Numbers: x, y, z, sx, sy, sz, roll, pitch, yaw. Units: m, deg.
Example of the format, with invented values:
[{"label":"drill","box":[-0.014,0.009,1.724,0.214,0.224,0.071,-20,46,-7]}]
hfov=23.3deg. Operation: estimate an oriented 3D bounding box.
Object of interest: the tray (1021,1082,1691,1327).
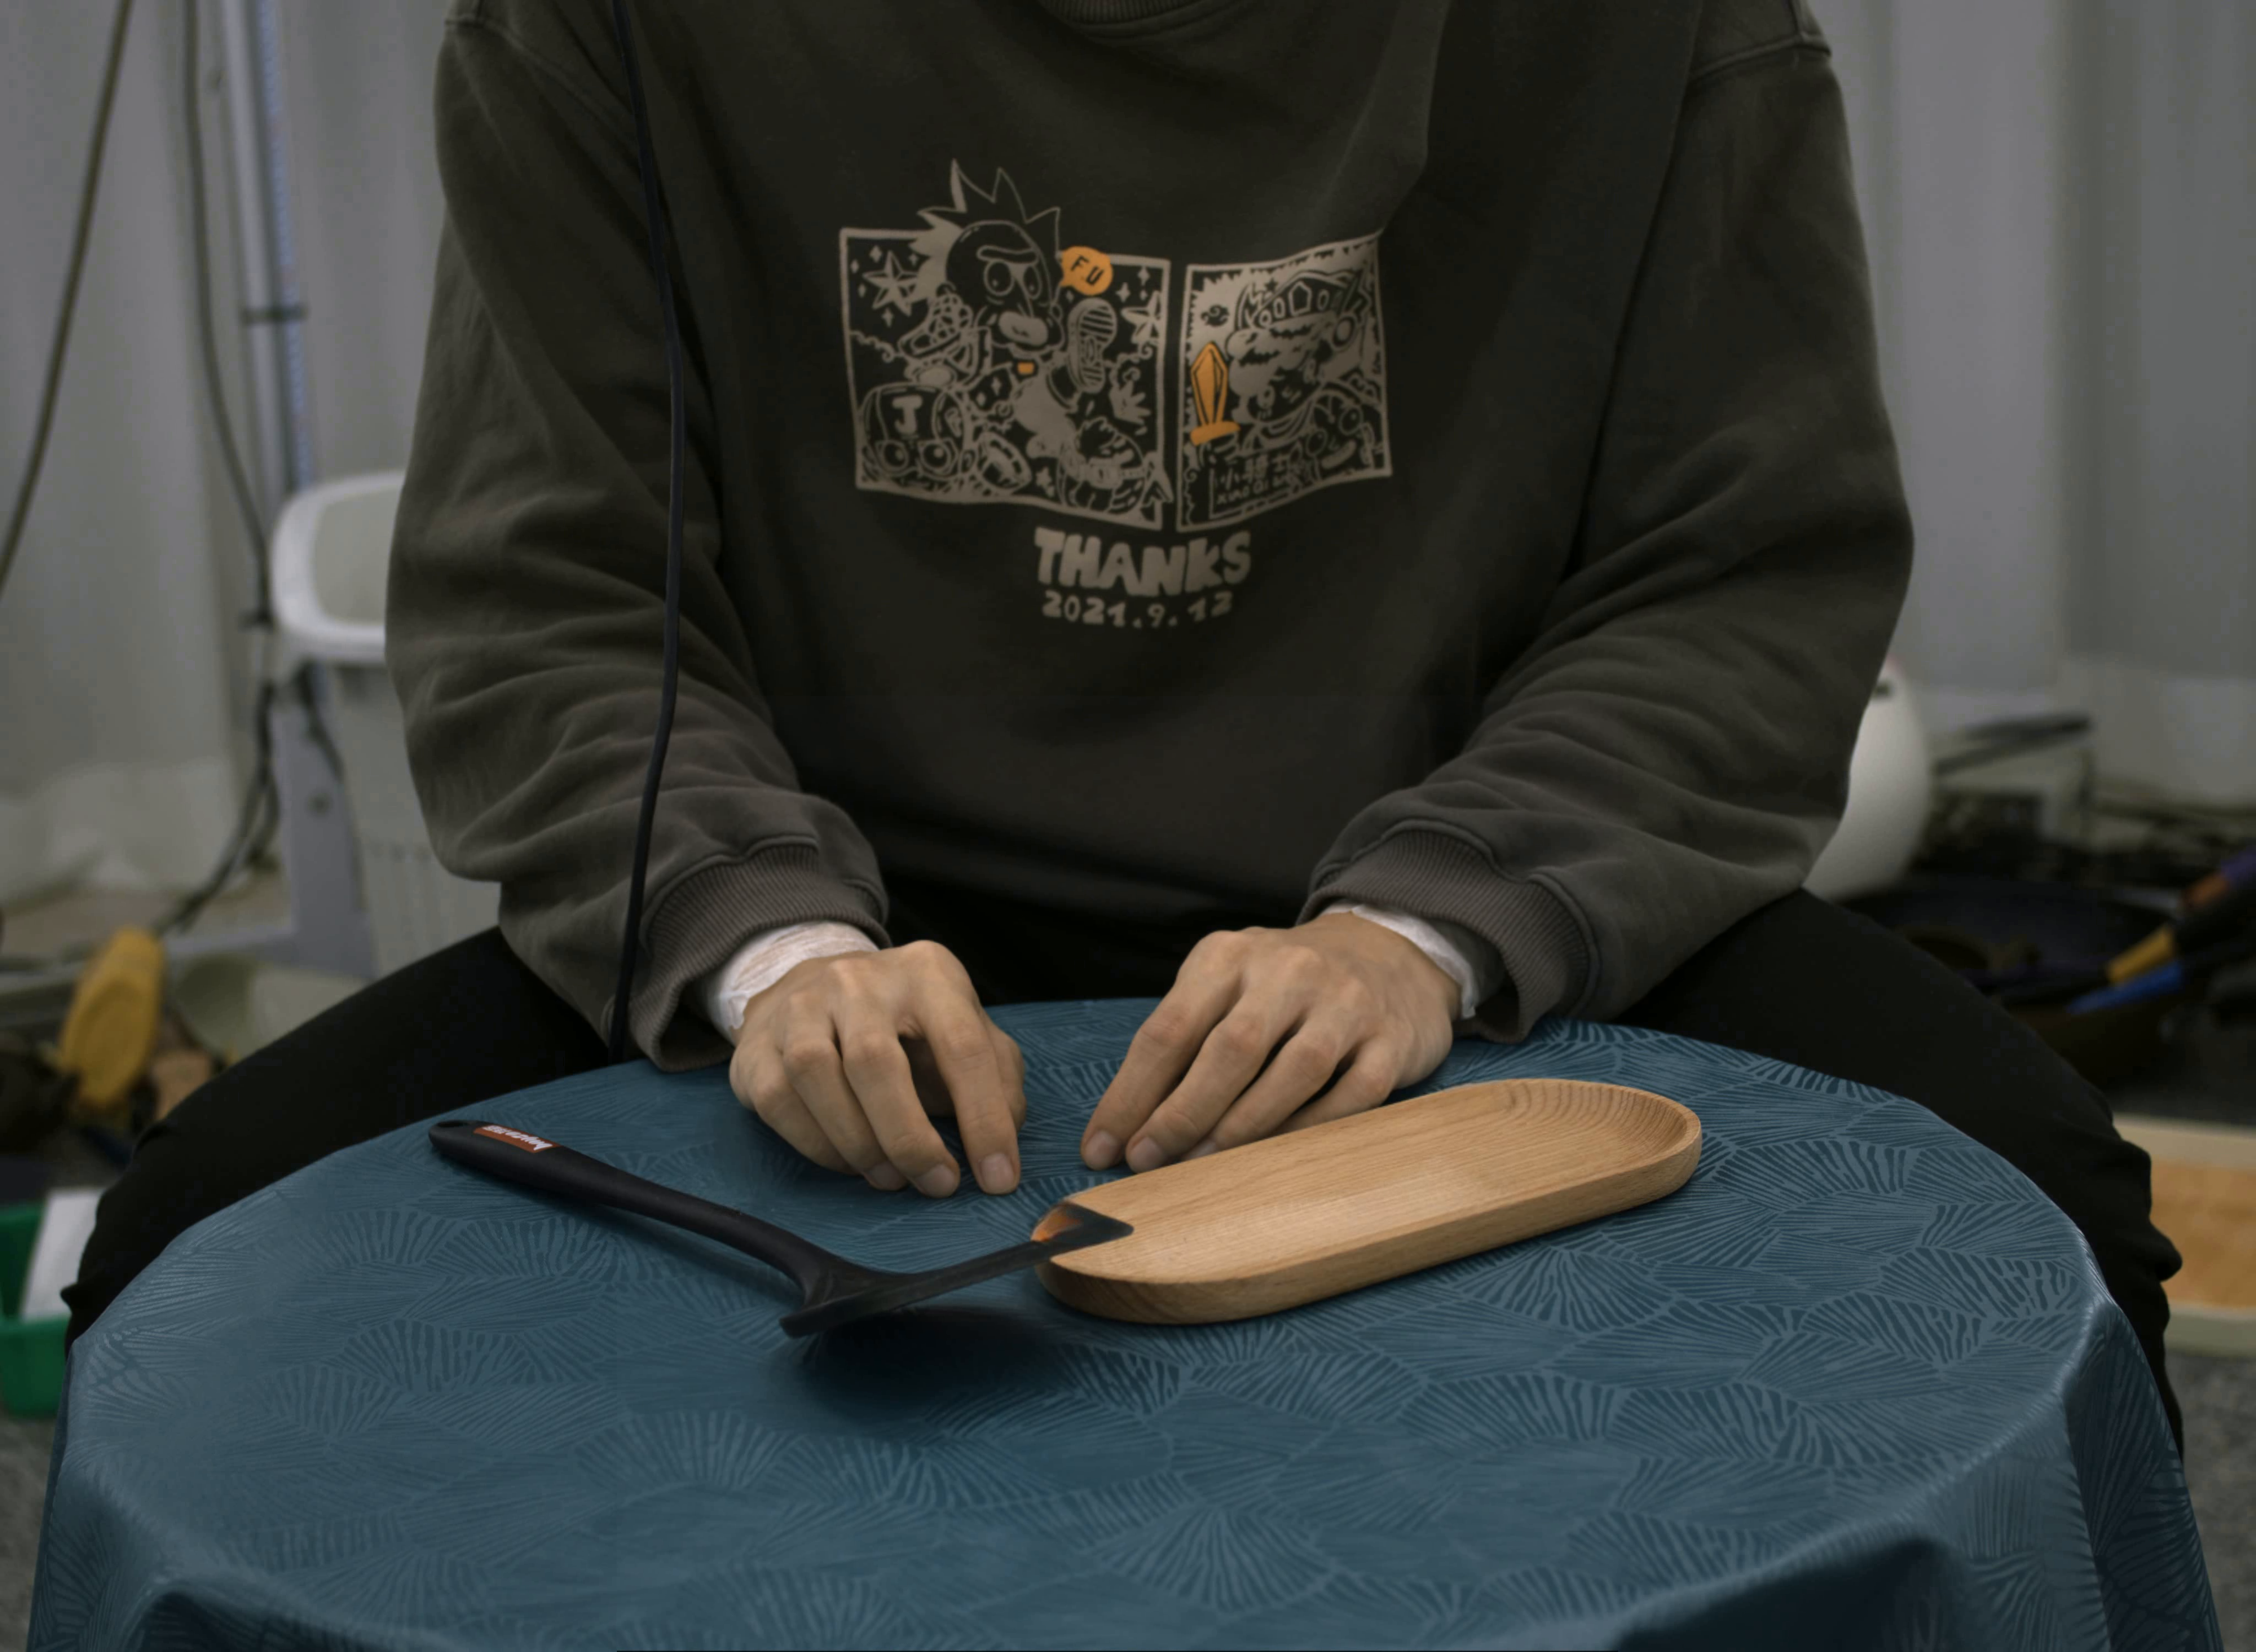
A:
[{"label":"tray","box":[0.072,0.115,1.675,0.230,0.020,0.102,-14,18,-32]}]

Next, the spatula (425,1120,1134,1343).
[{"label":"spatula","box":[-0.129,0.115,1.675,0.099,0.040,0.328,-12,18,-36]}]
